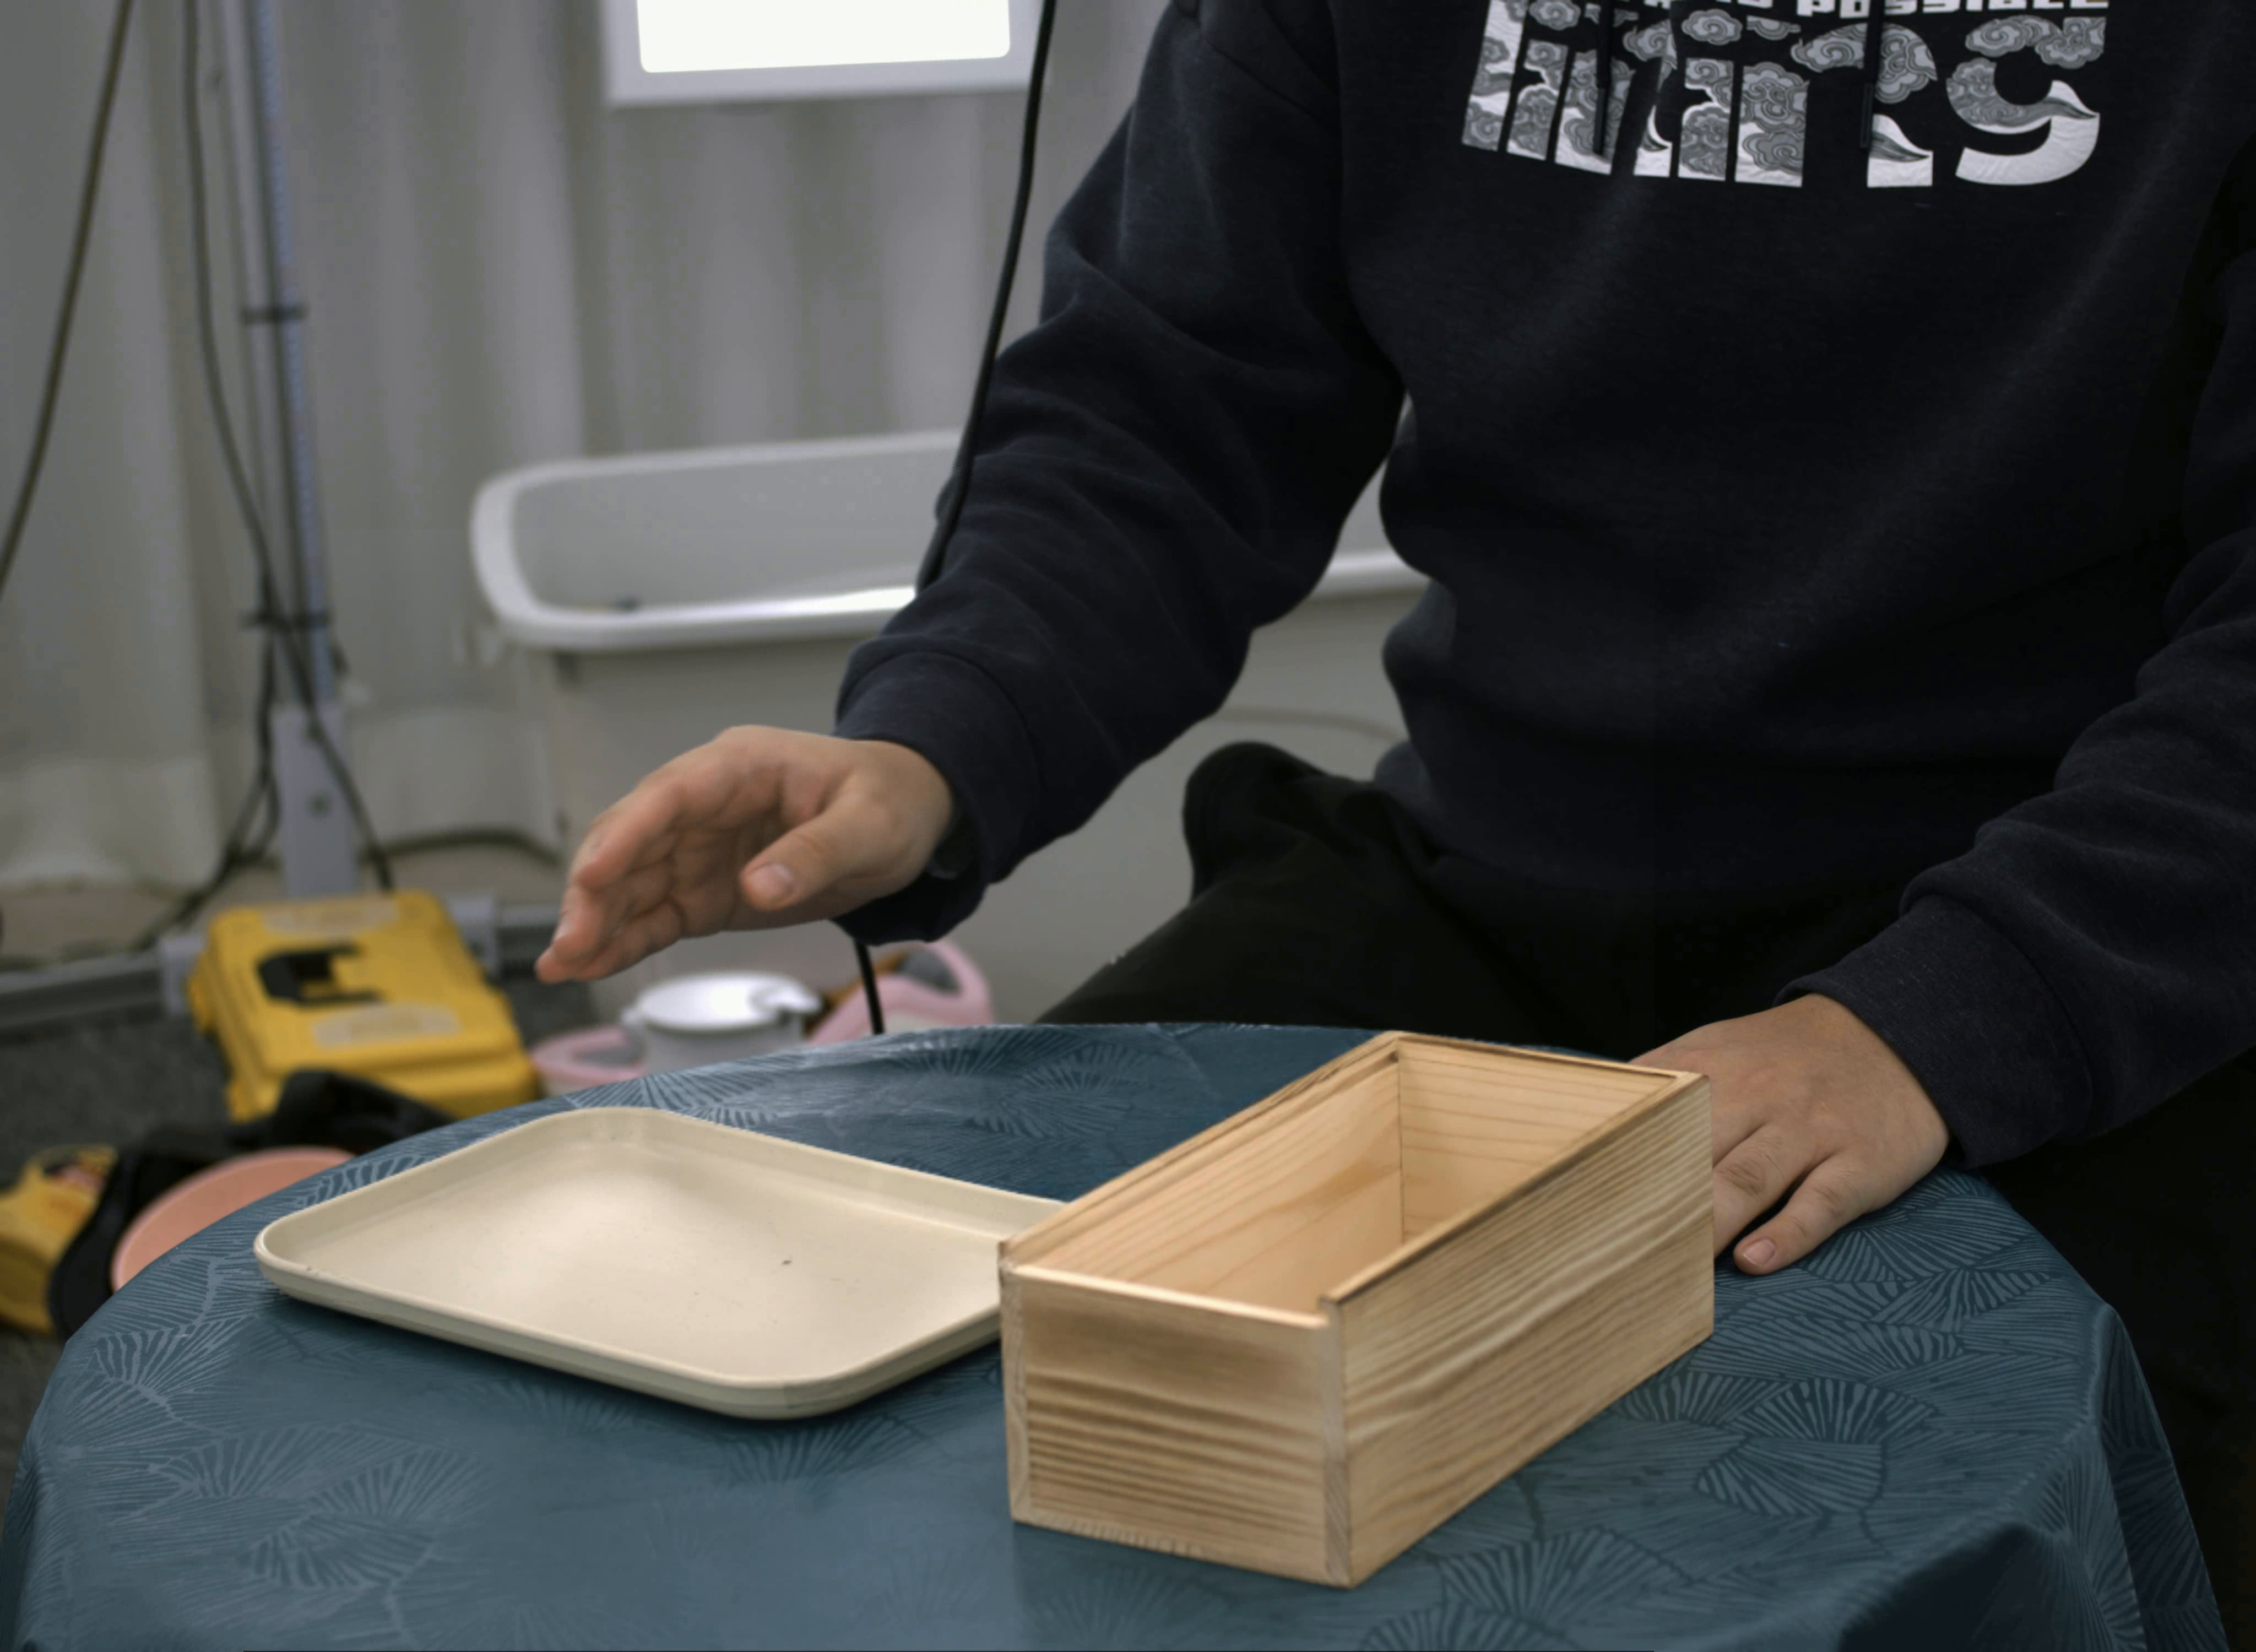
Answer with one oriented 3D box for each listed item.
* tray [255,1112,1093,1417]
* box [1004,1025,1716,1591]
[{"bbox_3d":[-0.132,0.131,1.646,0.241,0.017,0.171,9,18,38],"label":"tray"},{"bbox_3d":[0.068,0.127,1.503,0.108,0.080,0.211,7,17,31],"label":"box"}]
